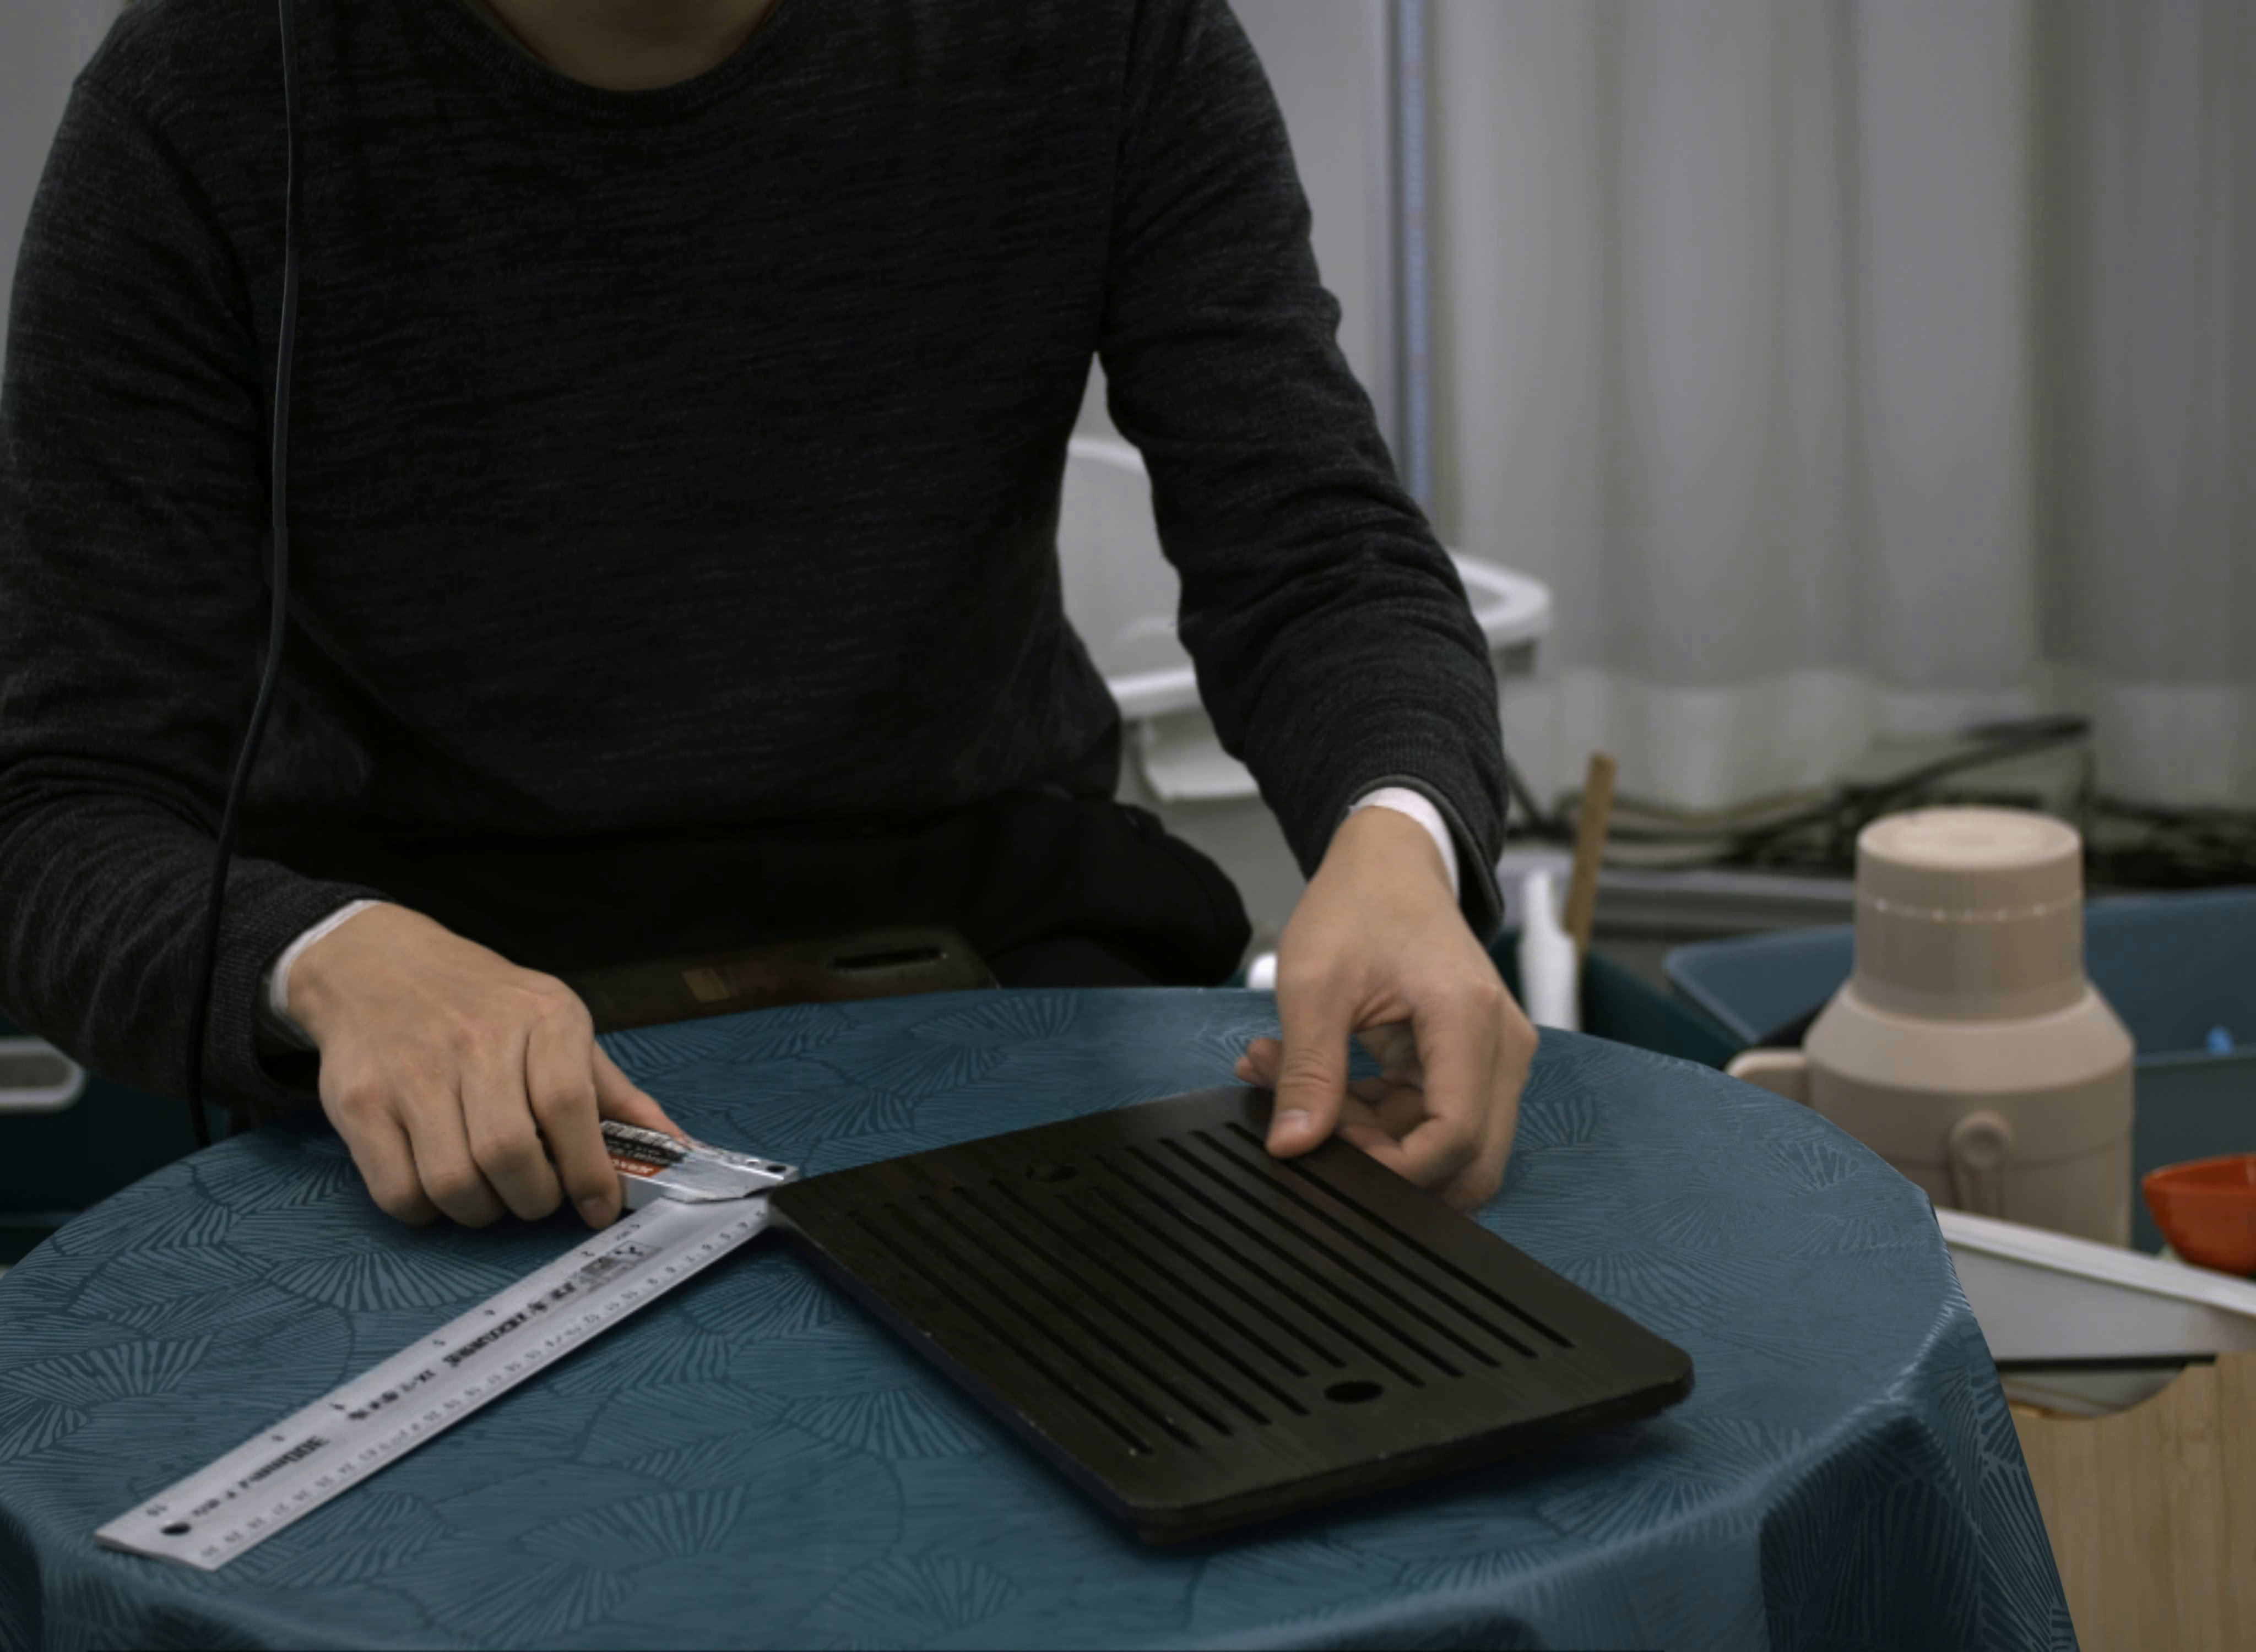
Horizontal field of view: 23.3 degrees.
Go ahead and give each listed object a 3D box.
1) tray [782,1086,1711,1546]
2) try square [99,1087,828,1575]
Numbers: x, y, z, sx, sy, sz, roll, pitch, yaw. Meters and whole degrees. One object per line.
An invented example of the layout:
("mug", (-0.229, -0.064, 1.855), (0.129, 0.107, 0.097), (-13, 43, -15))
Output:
("tray", (0.026, 0.137, 1.580), (0.169, 0.018, 0.308), (-11, 17, -20))
("try square", (-0.231, 0.143, 1.610), (0.153, 0.016, 0.313), (11, 21, 27))
